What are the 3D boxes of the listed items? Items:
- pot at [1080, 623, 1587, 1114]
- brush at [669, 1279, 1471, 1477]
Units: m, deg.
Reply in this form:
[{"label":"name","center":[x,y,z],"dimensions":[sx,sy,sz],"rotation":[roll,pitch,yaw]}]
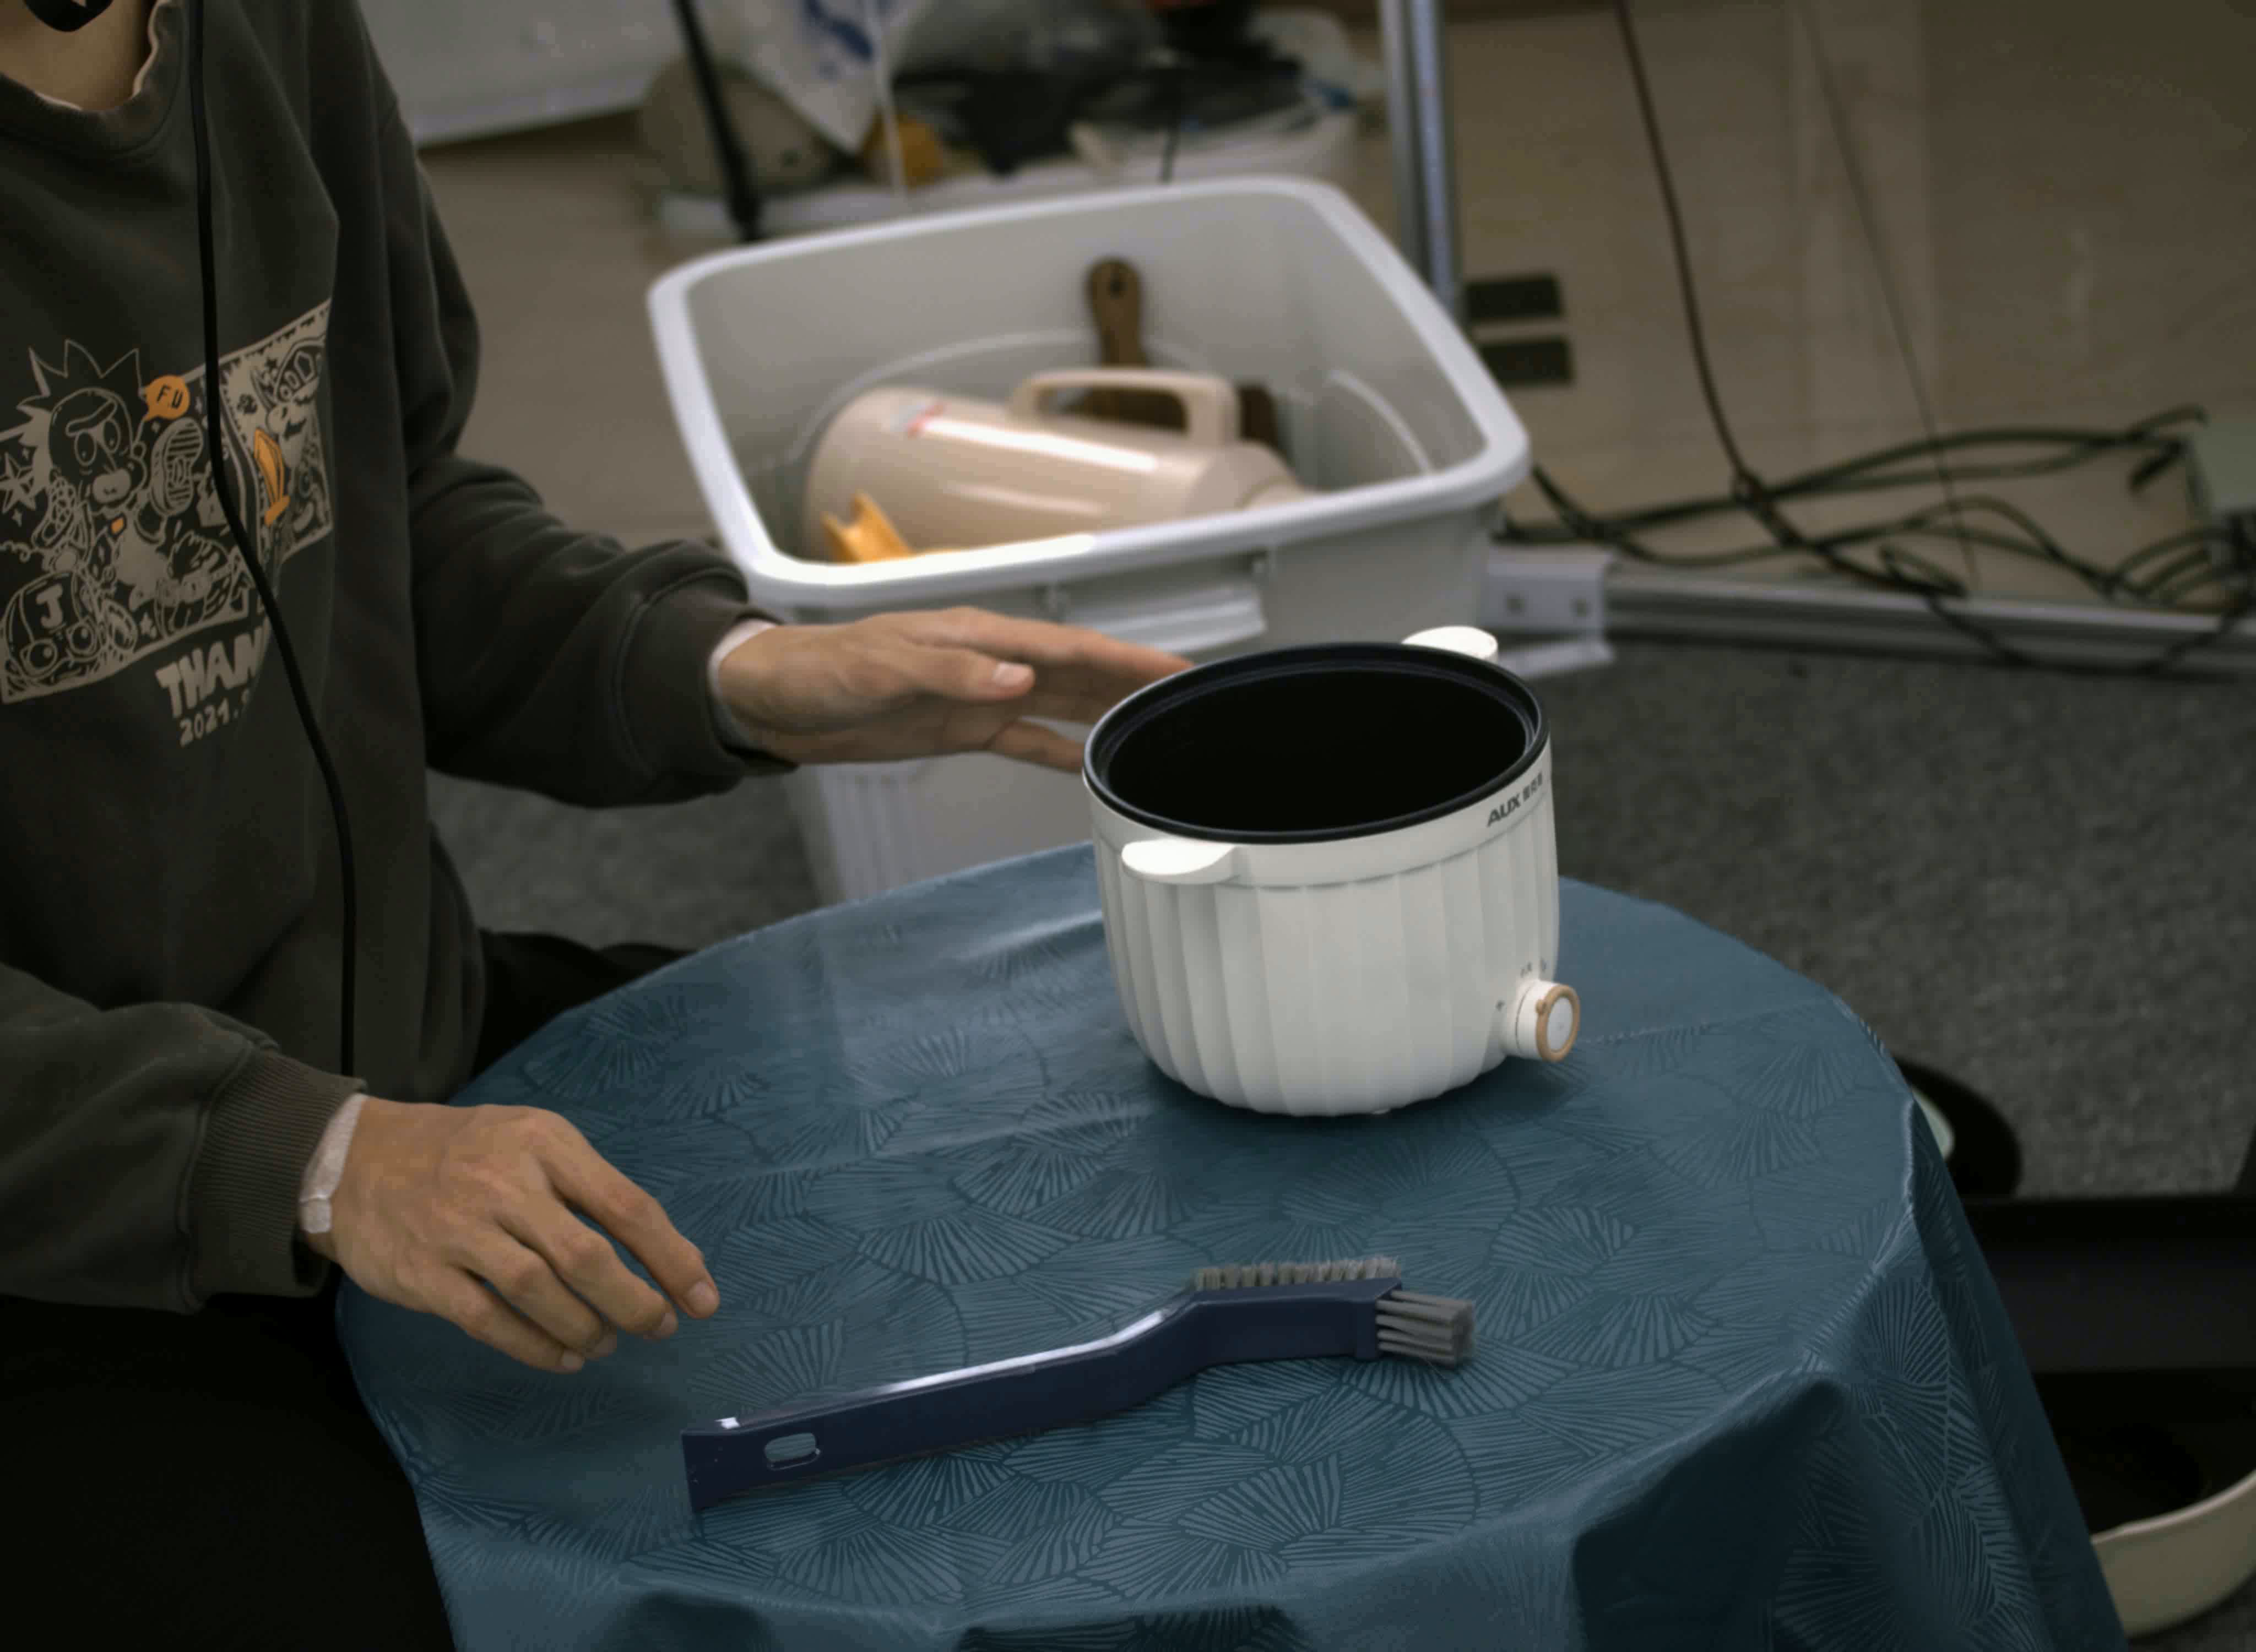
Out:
[{"label":"pot","center":[0.084,0.024,2.204],"dimensions":[0.190,0.145,0.237],"rotation":[7,30,34]},{"label":"brush","center":[-0.022,0.194,1.991],"dimensions":[0.272,0.034,0.094],"rotation":[-12,22,-17]}]
